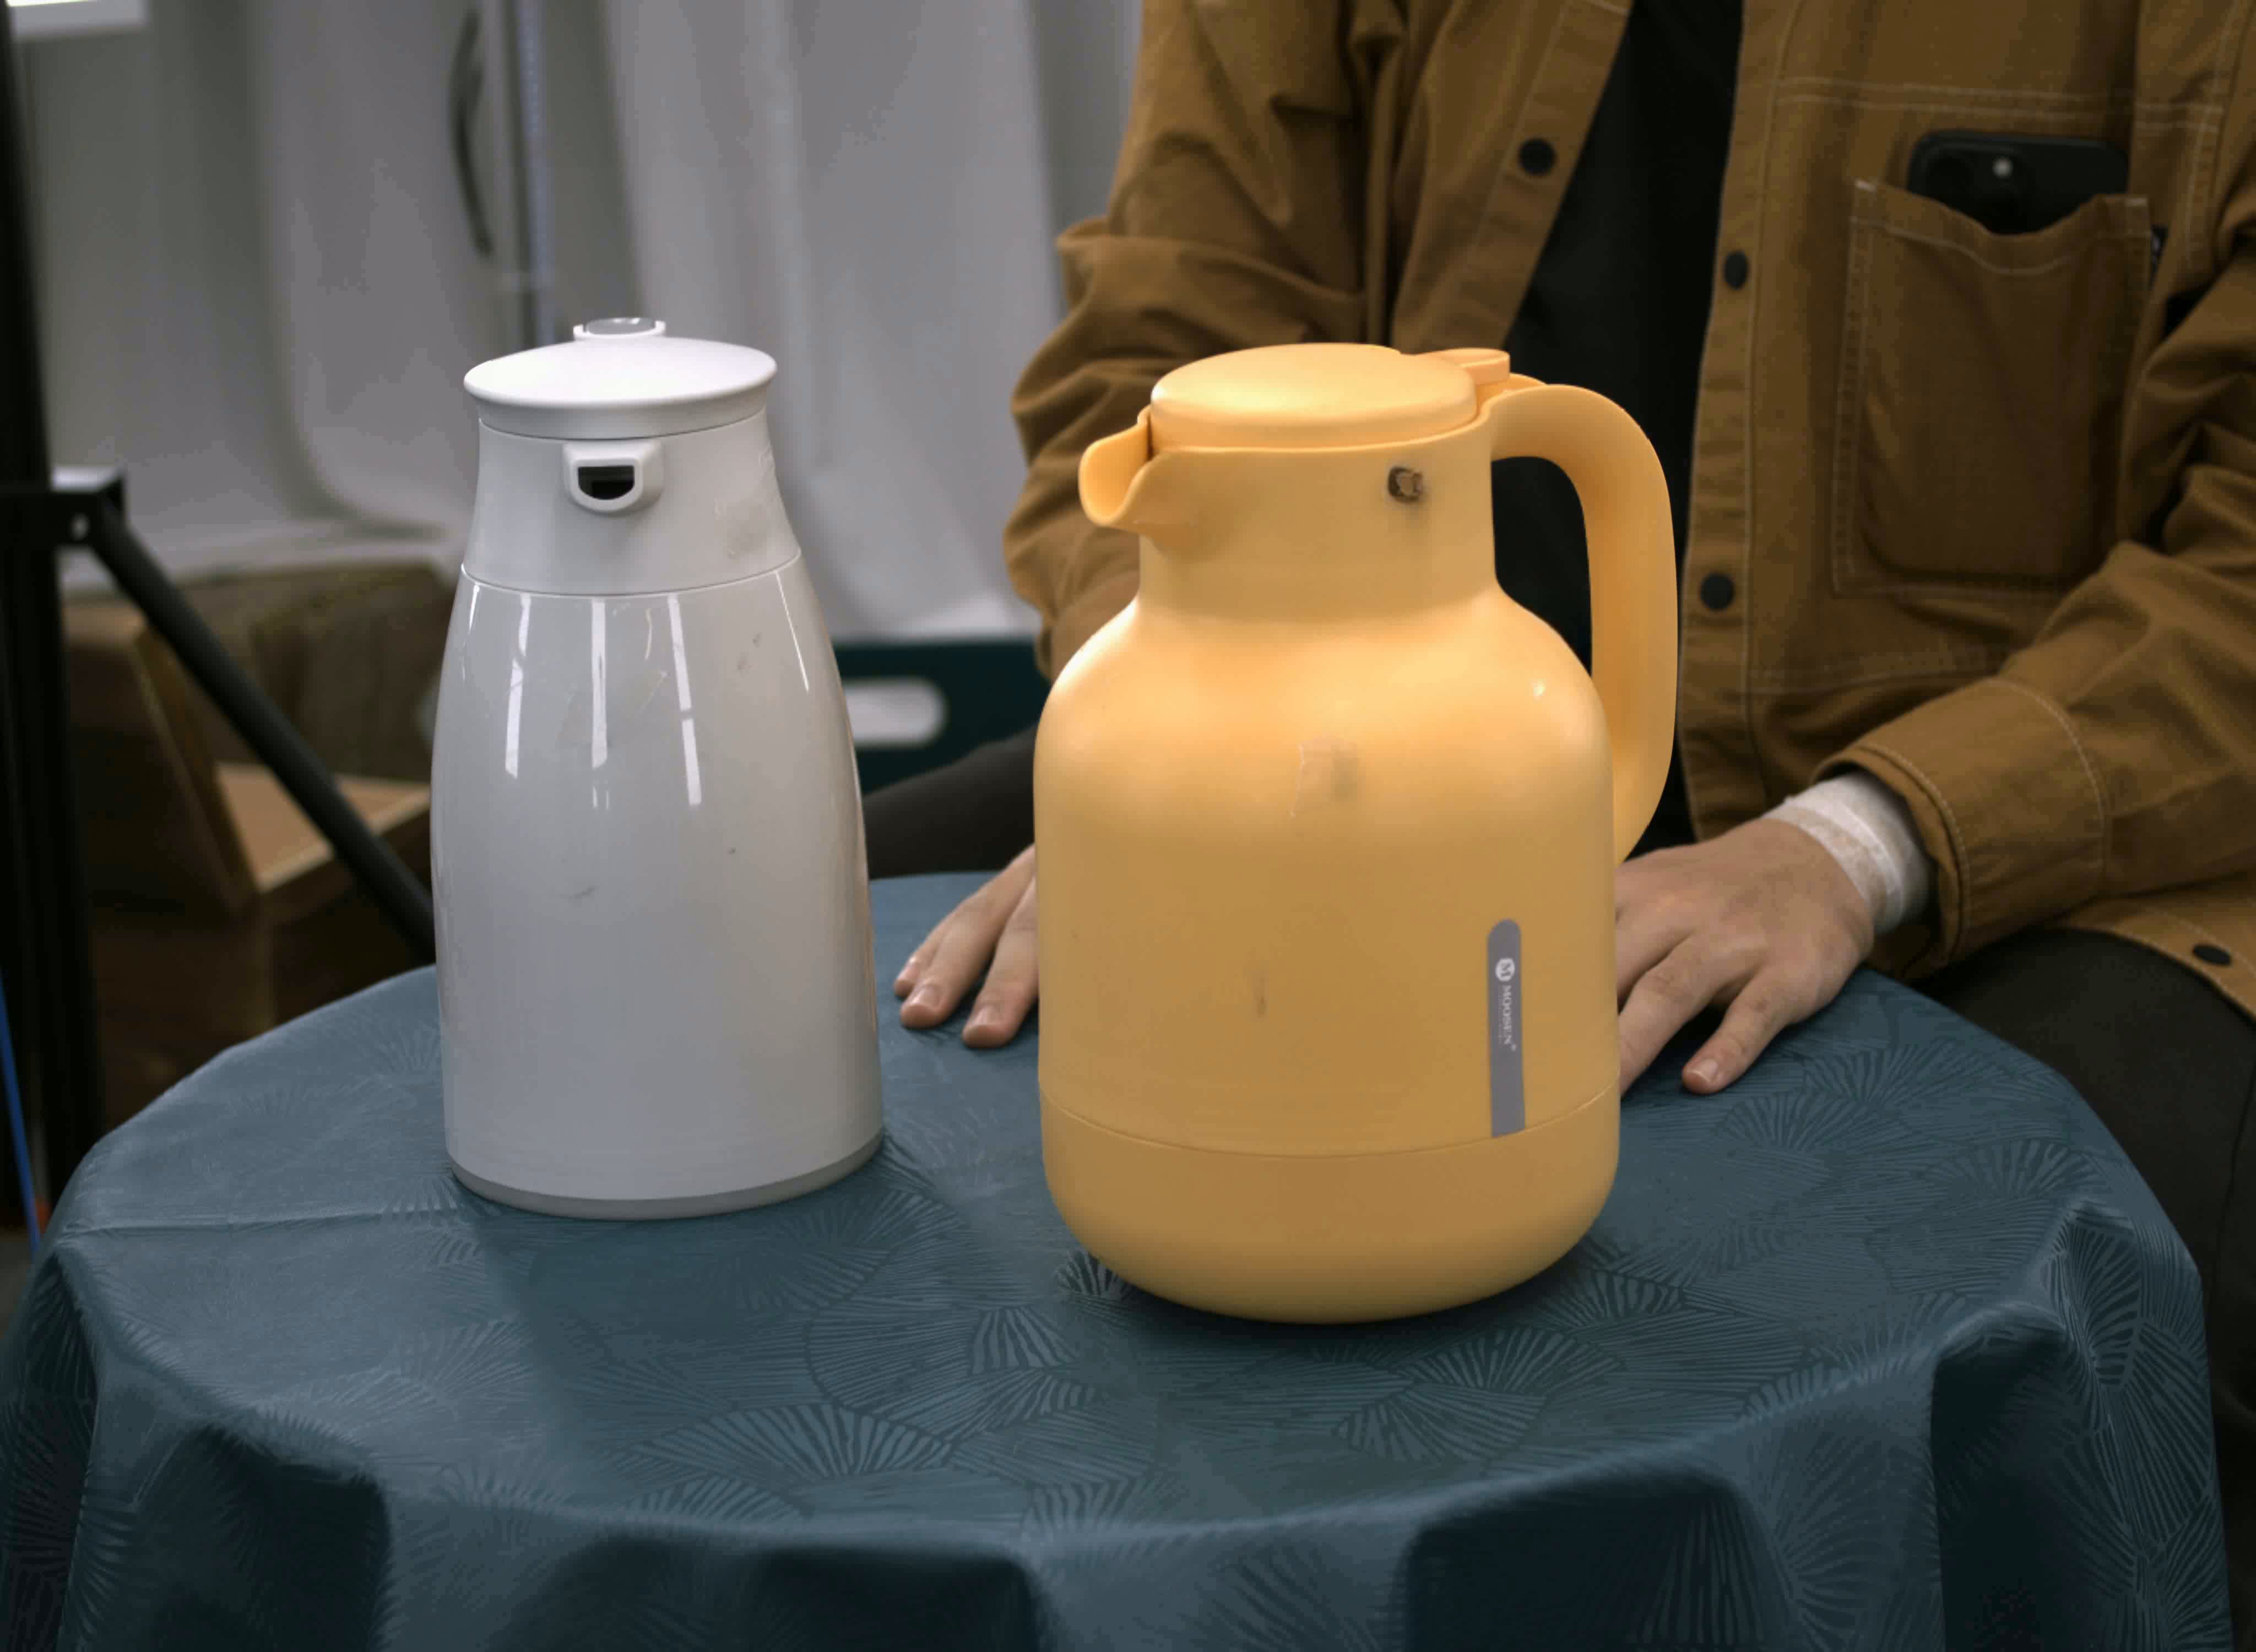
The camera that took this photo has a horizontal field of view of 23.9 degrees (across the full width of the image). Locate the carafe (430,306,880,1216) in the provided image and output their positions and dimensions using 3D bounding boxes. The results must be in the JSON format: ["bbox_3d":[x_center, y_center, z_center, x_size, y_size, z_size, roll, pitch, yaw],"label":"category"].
[{"bbox_3d":[-0.145,-0.028,1.601,0.132,0.248,0.168,-2,14,1],"label":"carafe"}]

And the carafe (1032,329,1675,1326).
[{"bbox_3d":[0.071,-0.006,1.470,0.198,0.260,0.167,-14,21,-32],"label":"carafe"}]
